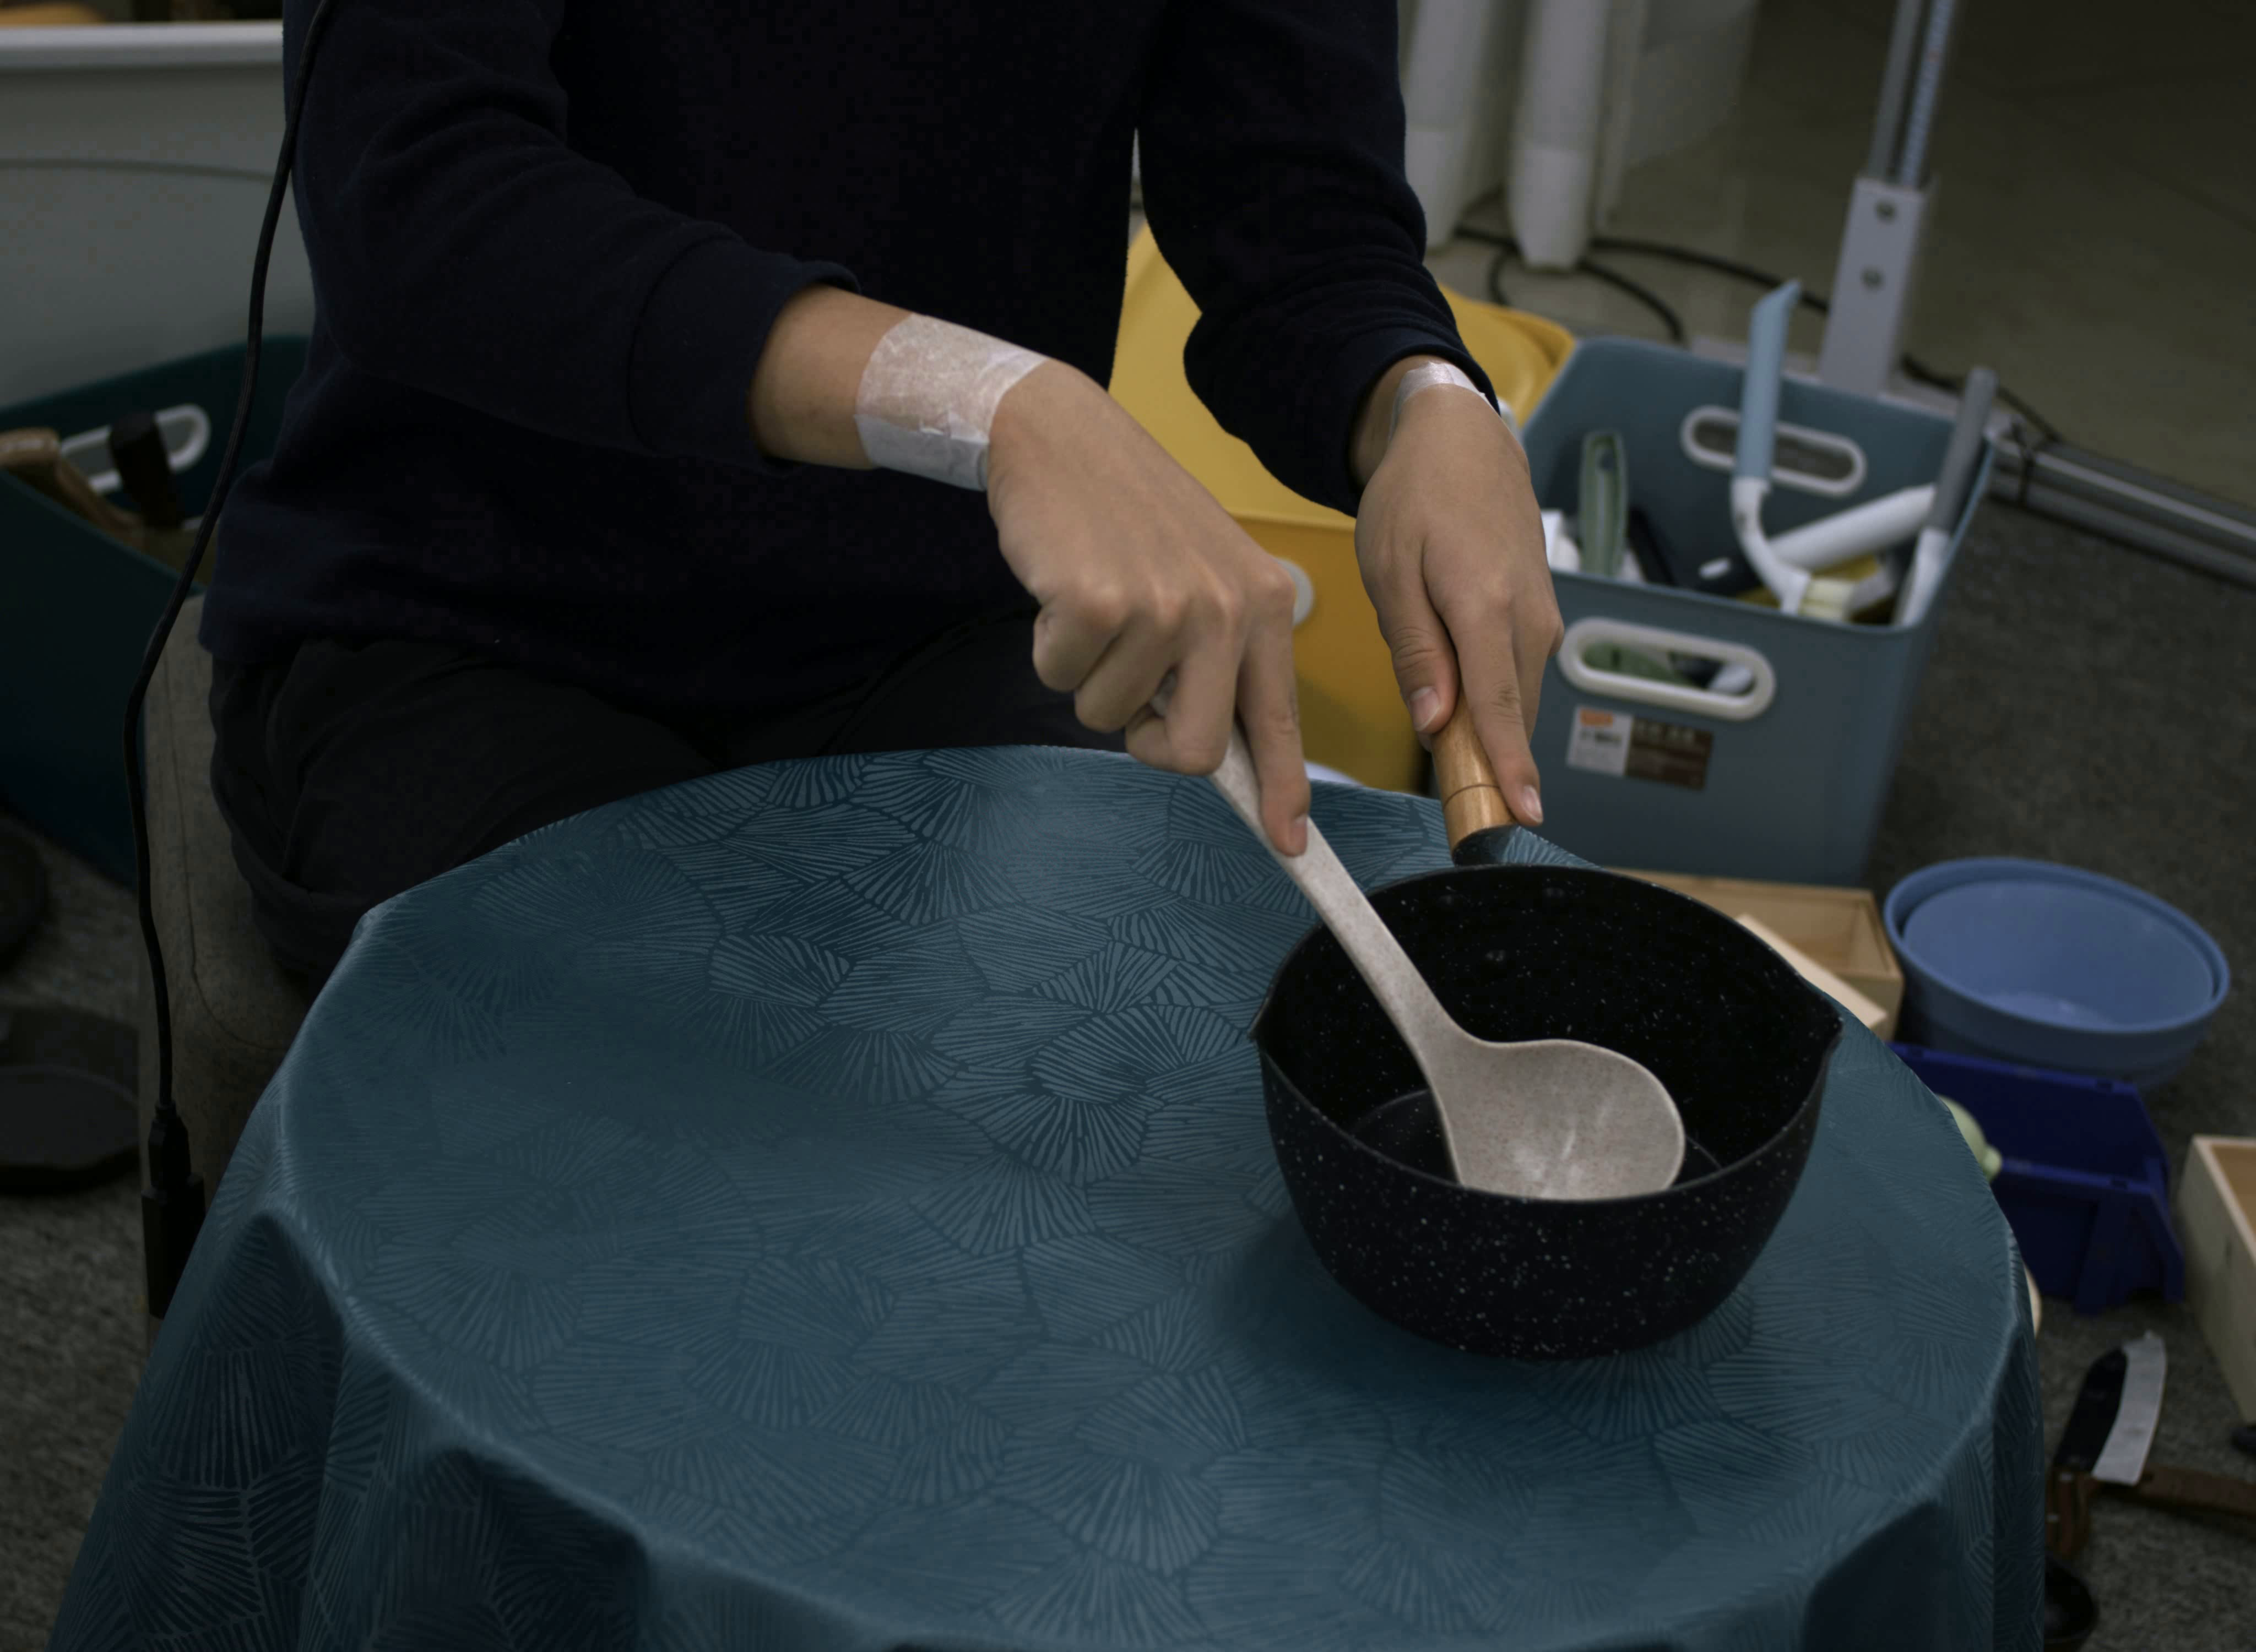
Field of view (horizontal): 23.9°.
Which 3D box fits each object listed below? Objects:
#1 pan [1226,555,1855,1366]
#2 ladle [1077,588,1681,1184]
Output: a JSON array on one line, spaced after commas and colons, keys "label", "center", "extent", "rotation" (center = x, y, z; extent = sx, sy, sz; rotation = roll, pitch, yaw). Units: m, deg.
[{"label": "pan", "center": [0.127, 0.043, 1.825], "extent": [0.206, 0.107, 0.346], "rotation": [-4, 37, -5]}, {"label": "ladle", "center": [0.083, 0.024, 1.737], "extent": [0.069, 0.273, 0.089], "rotation": [-12, 31, 48]}]
